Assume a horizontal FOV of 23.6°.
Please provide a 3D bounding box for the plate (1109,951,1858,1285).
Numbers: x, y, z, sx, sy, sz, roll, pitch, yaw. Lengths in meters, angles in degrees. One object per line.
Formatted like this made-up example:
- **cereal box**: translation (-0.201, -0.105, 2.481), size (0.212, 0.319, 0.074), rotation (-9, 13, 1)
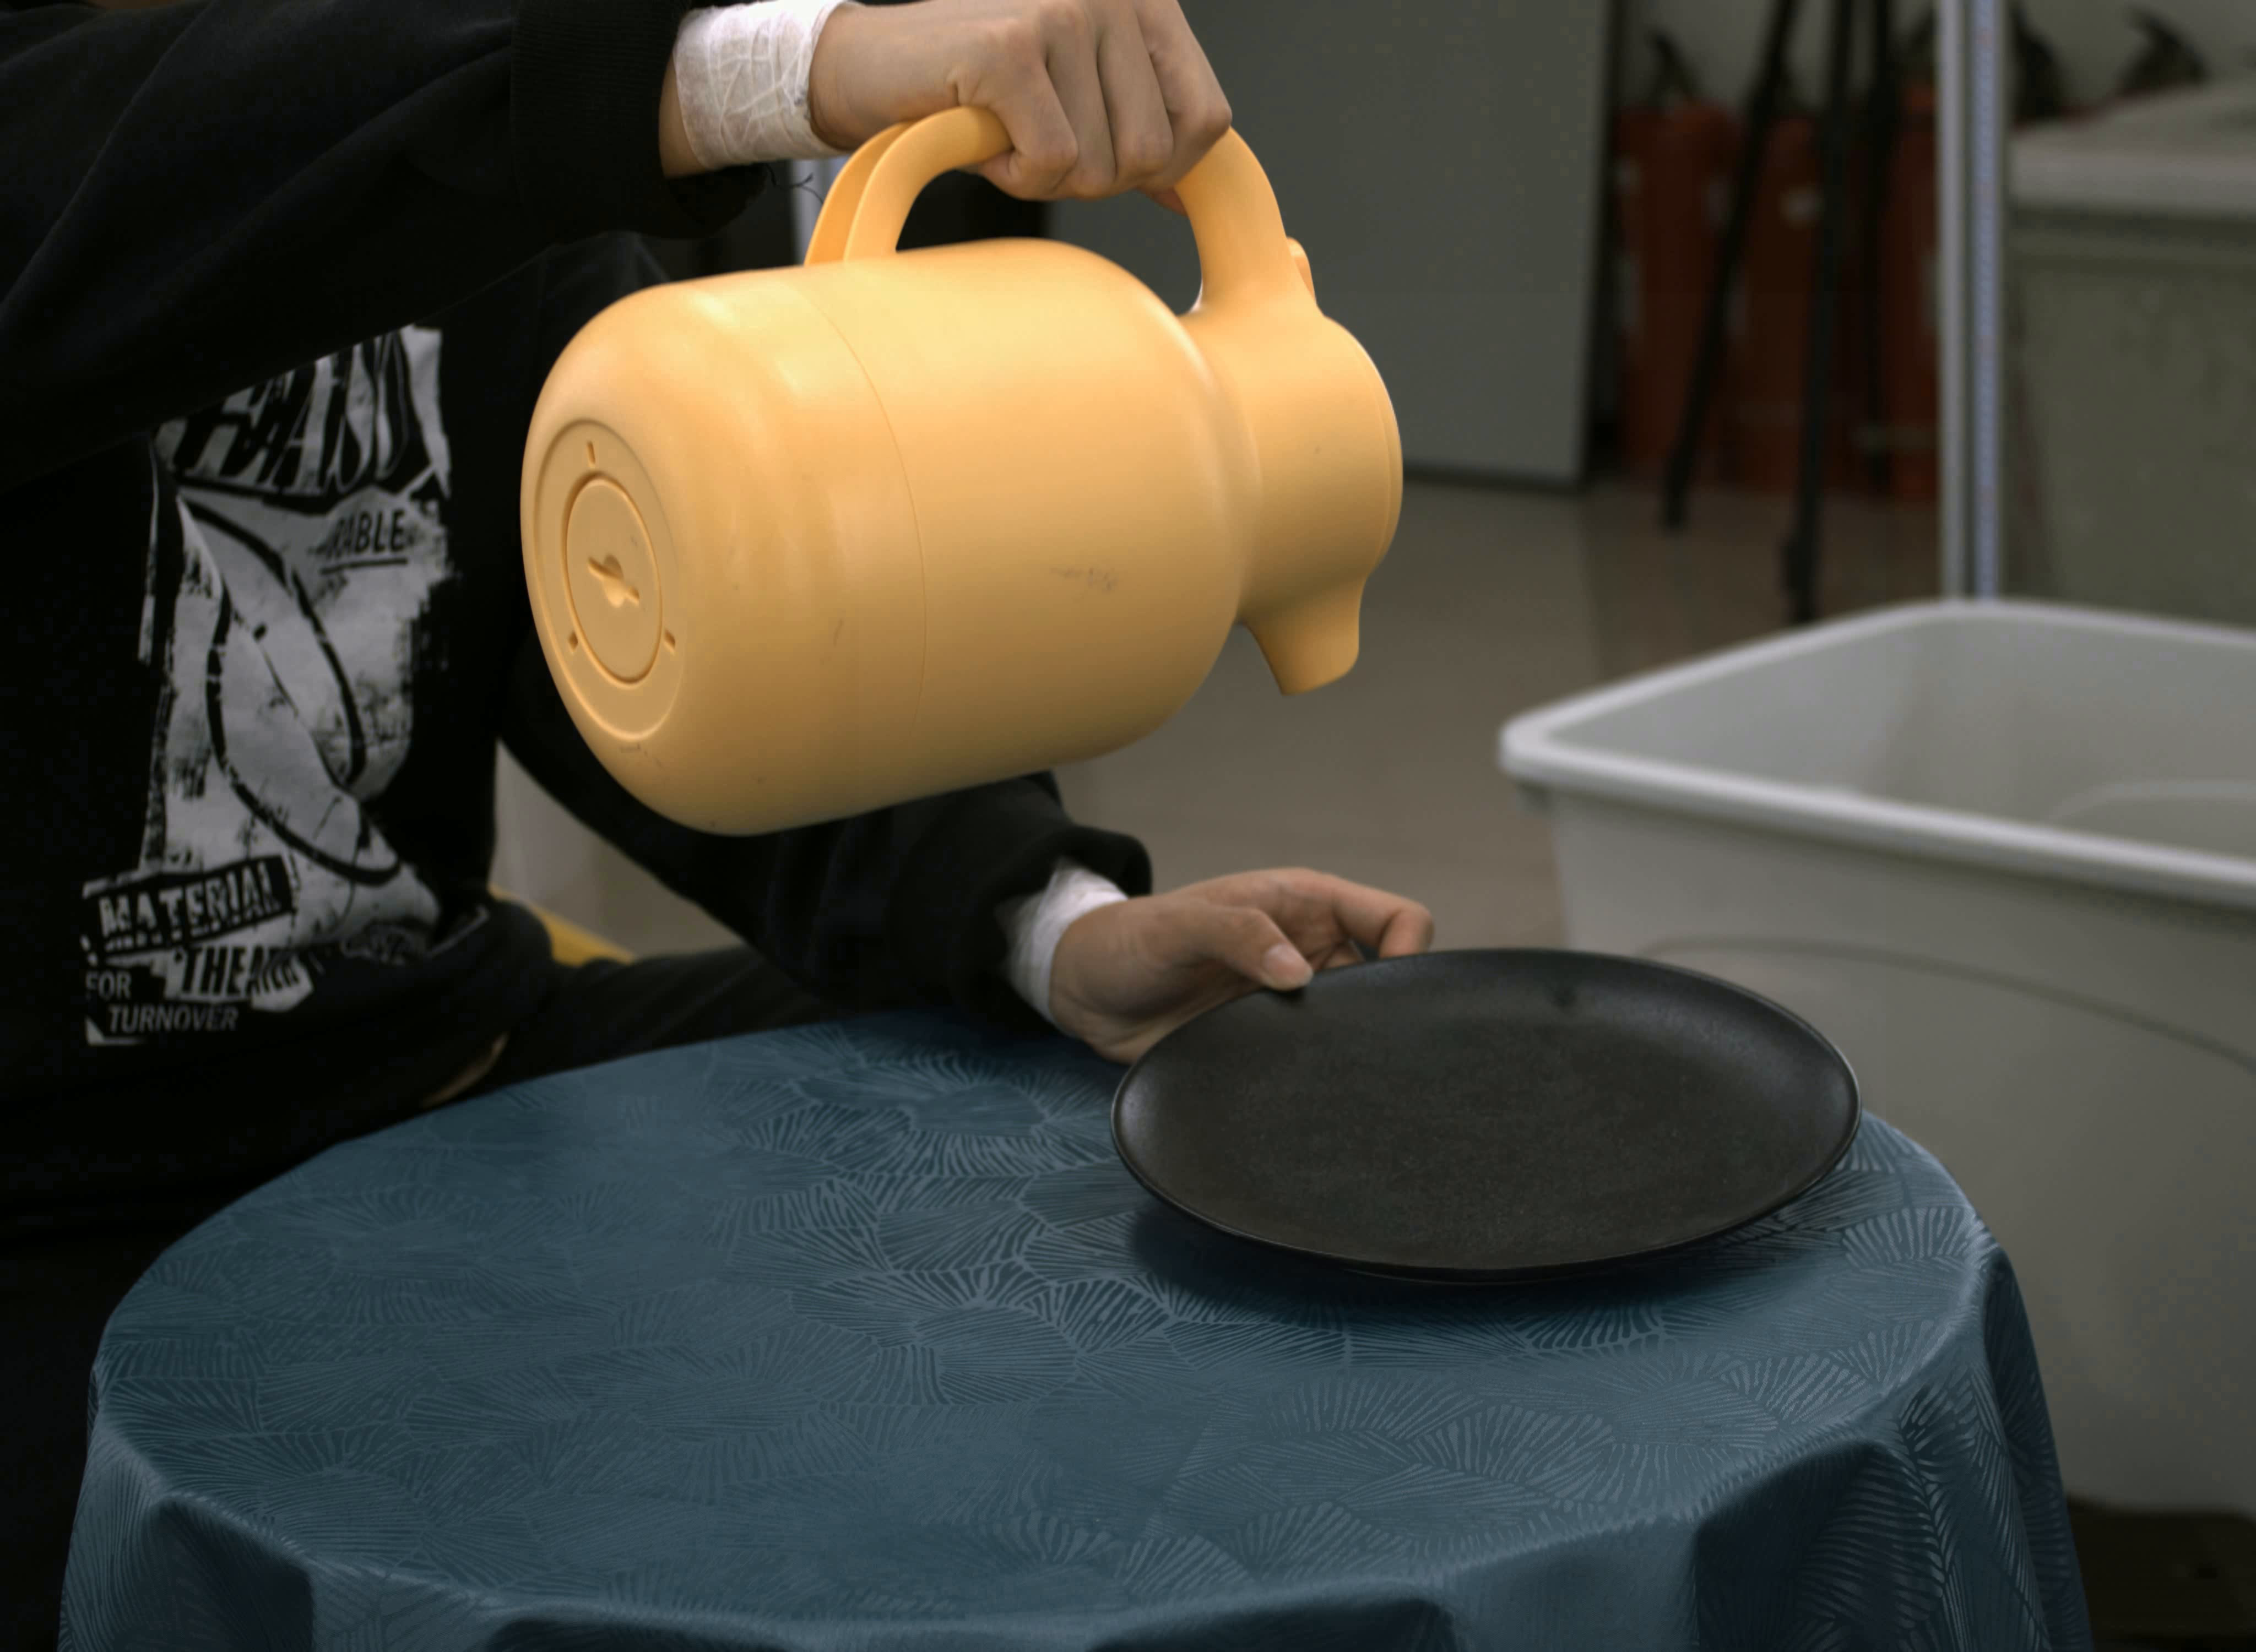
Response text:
- **plate**: translation (0.114, 0.097, 1.736), size (0.241, 0.023, 0.245), rotation (-4, 22, 1)

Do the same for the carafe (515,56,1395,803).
- **carafe**: translation (-0.049, -0.122, 1.614), size (0.254, 0.205, 0.165), rotation (-10, -1, -31)
